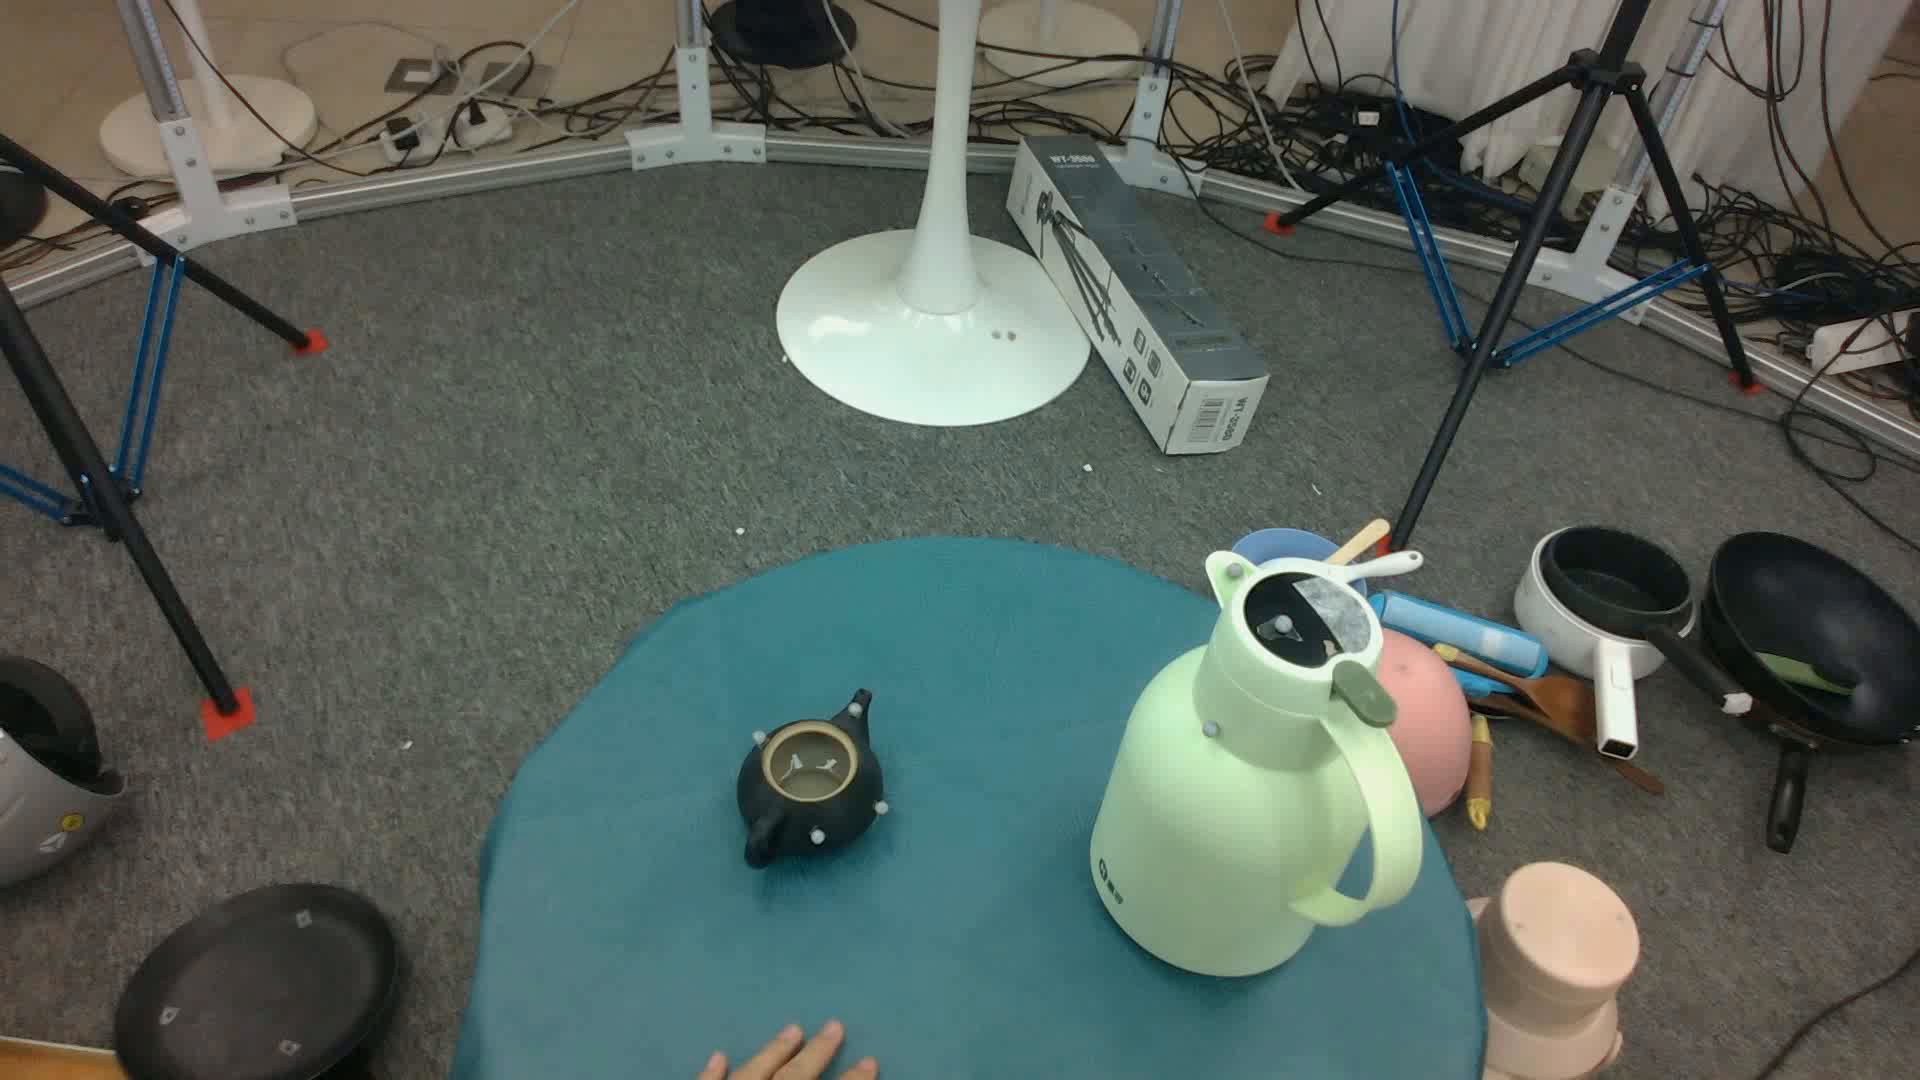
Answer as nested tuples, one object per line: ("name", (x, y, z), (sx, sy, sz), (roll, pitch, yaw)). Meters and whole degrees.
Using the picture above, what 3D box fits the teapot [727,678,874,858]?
("teapot", (-0.099, 0.145, 0.851), (0.091, 0.053, 0.134), (23, 48, 16))

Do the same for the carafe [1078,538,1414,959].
("carafe", (0.164, 0.128, 0.768), (0.144, 0.255, 0.187), (-17, 54, -23))
